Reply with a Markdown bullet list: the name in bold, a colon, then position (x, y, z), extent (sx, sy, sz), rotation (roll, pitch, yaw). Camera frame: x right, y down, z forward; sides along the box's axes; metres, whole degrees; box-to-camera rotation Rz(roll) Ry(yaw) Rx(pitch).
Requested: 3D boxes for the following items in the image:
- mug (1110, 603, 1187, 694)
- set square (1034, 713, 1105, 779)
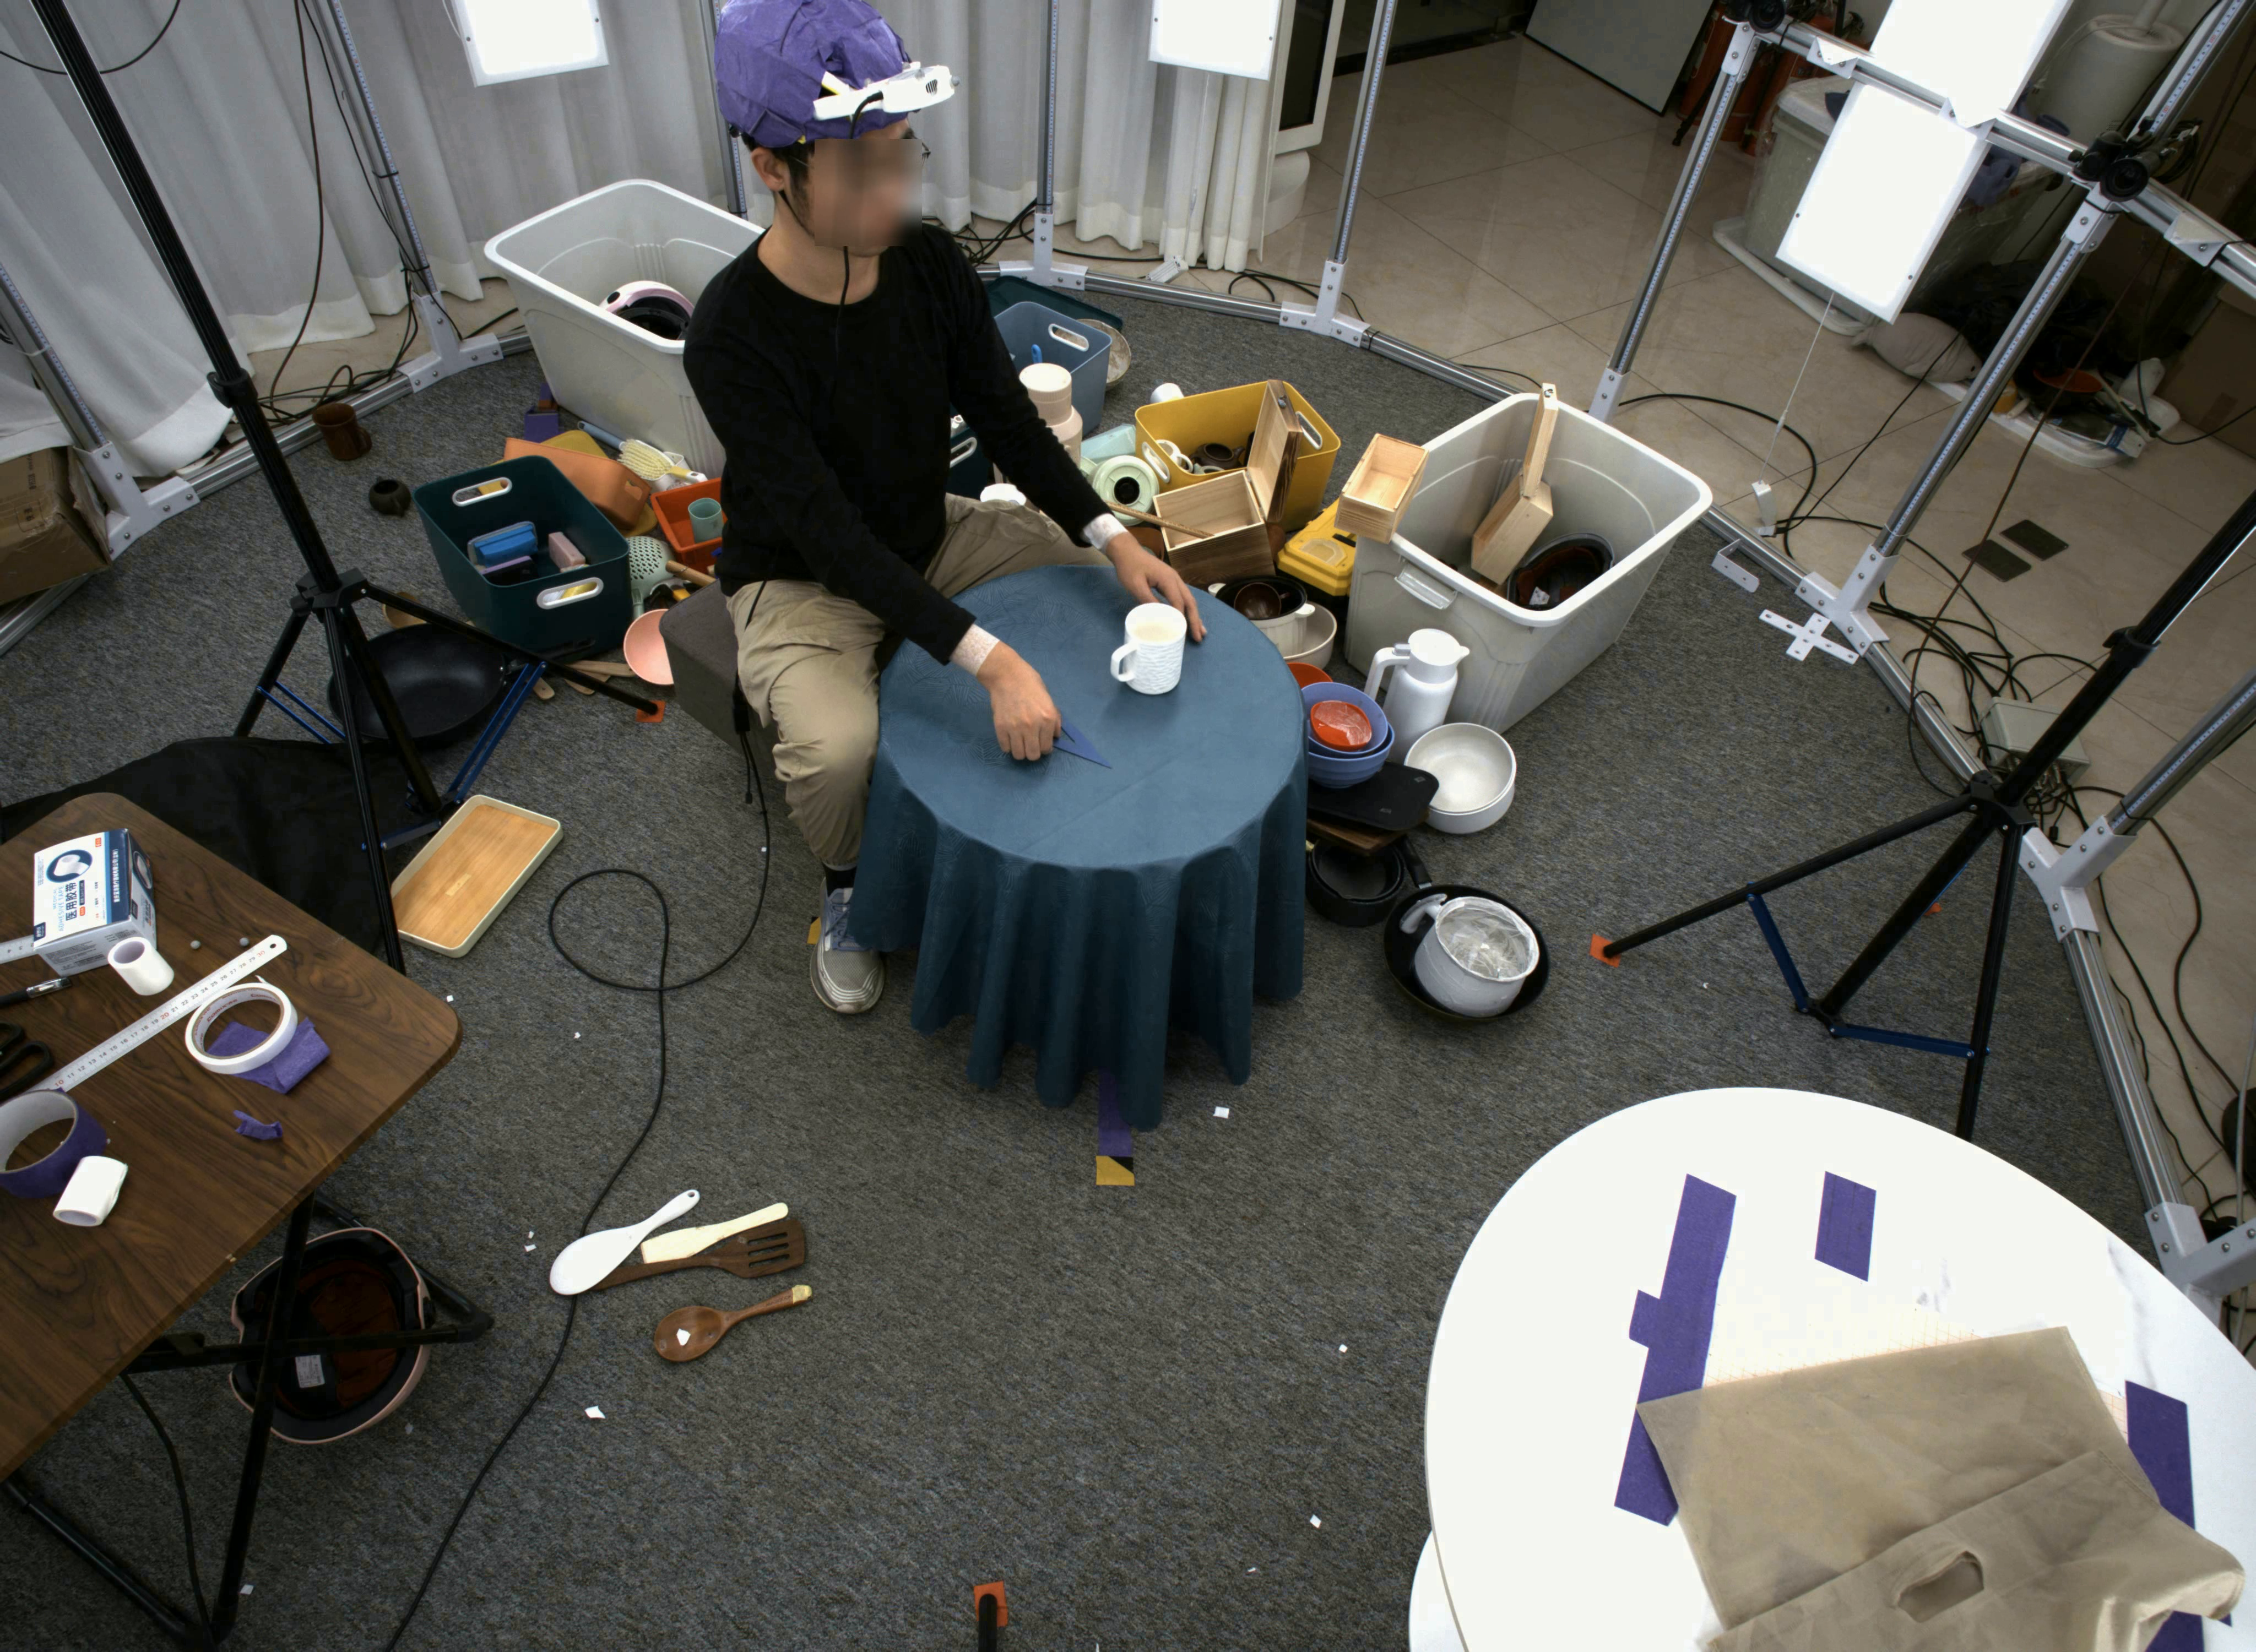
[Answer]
- **mug**: position (0.024, -0.243, 1.816), extent (0.119, 0.099, 0.086), rotation (-31, 58, -27)
- **set square**: position (-0.086, -0.104, 1.752), extent (0.061, 0.006, 0.135), rotation (-23, 55, -21)
